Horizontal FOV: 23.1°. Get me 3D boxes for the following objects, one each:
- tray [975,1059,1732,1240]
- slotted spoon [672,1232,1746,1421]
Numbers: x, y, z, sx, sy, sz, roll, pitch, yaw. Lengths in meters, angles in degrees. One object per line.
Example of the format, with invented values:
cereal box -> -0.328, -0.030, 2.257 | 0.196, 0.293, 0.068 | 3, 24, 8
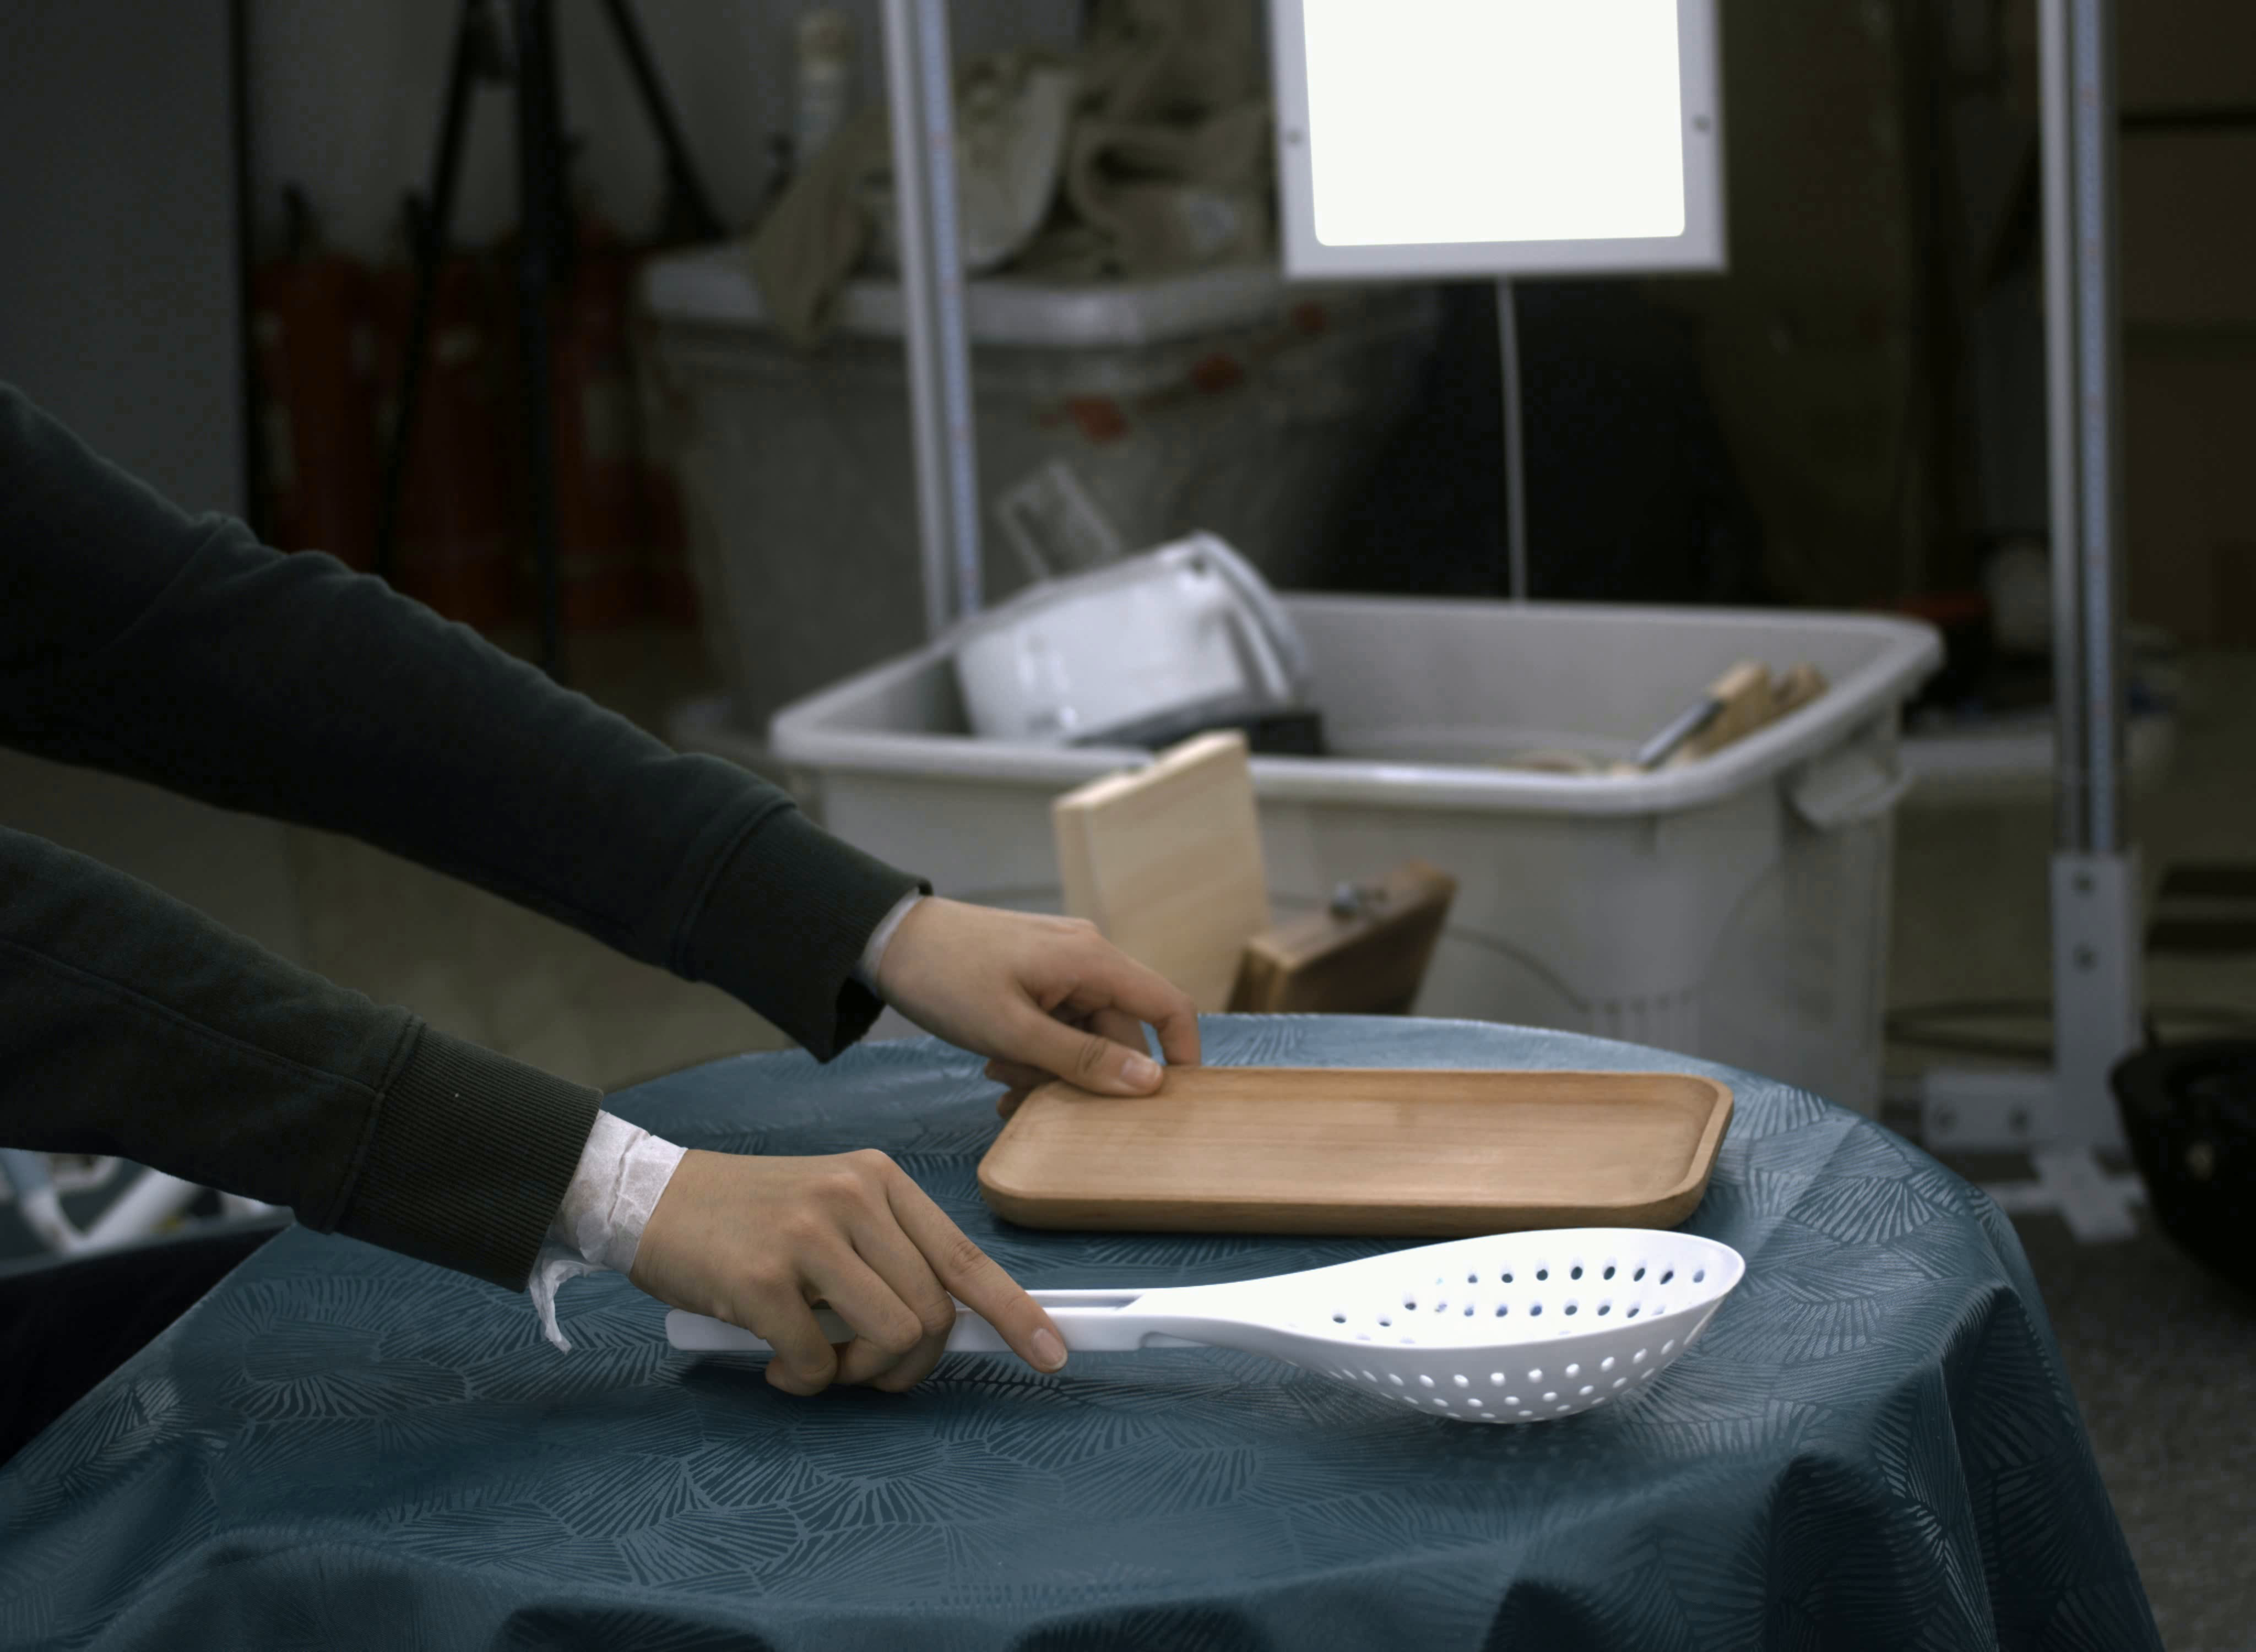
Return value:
tray -> 0.078, 0.110, 1.880 | 0.253, 0.023, 0.128 | -1, 16, 17
slotted spoon -> 0.019, 0.150, 1.690 | 0.355, 0.046, 0.133 | 2, 10, 24
